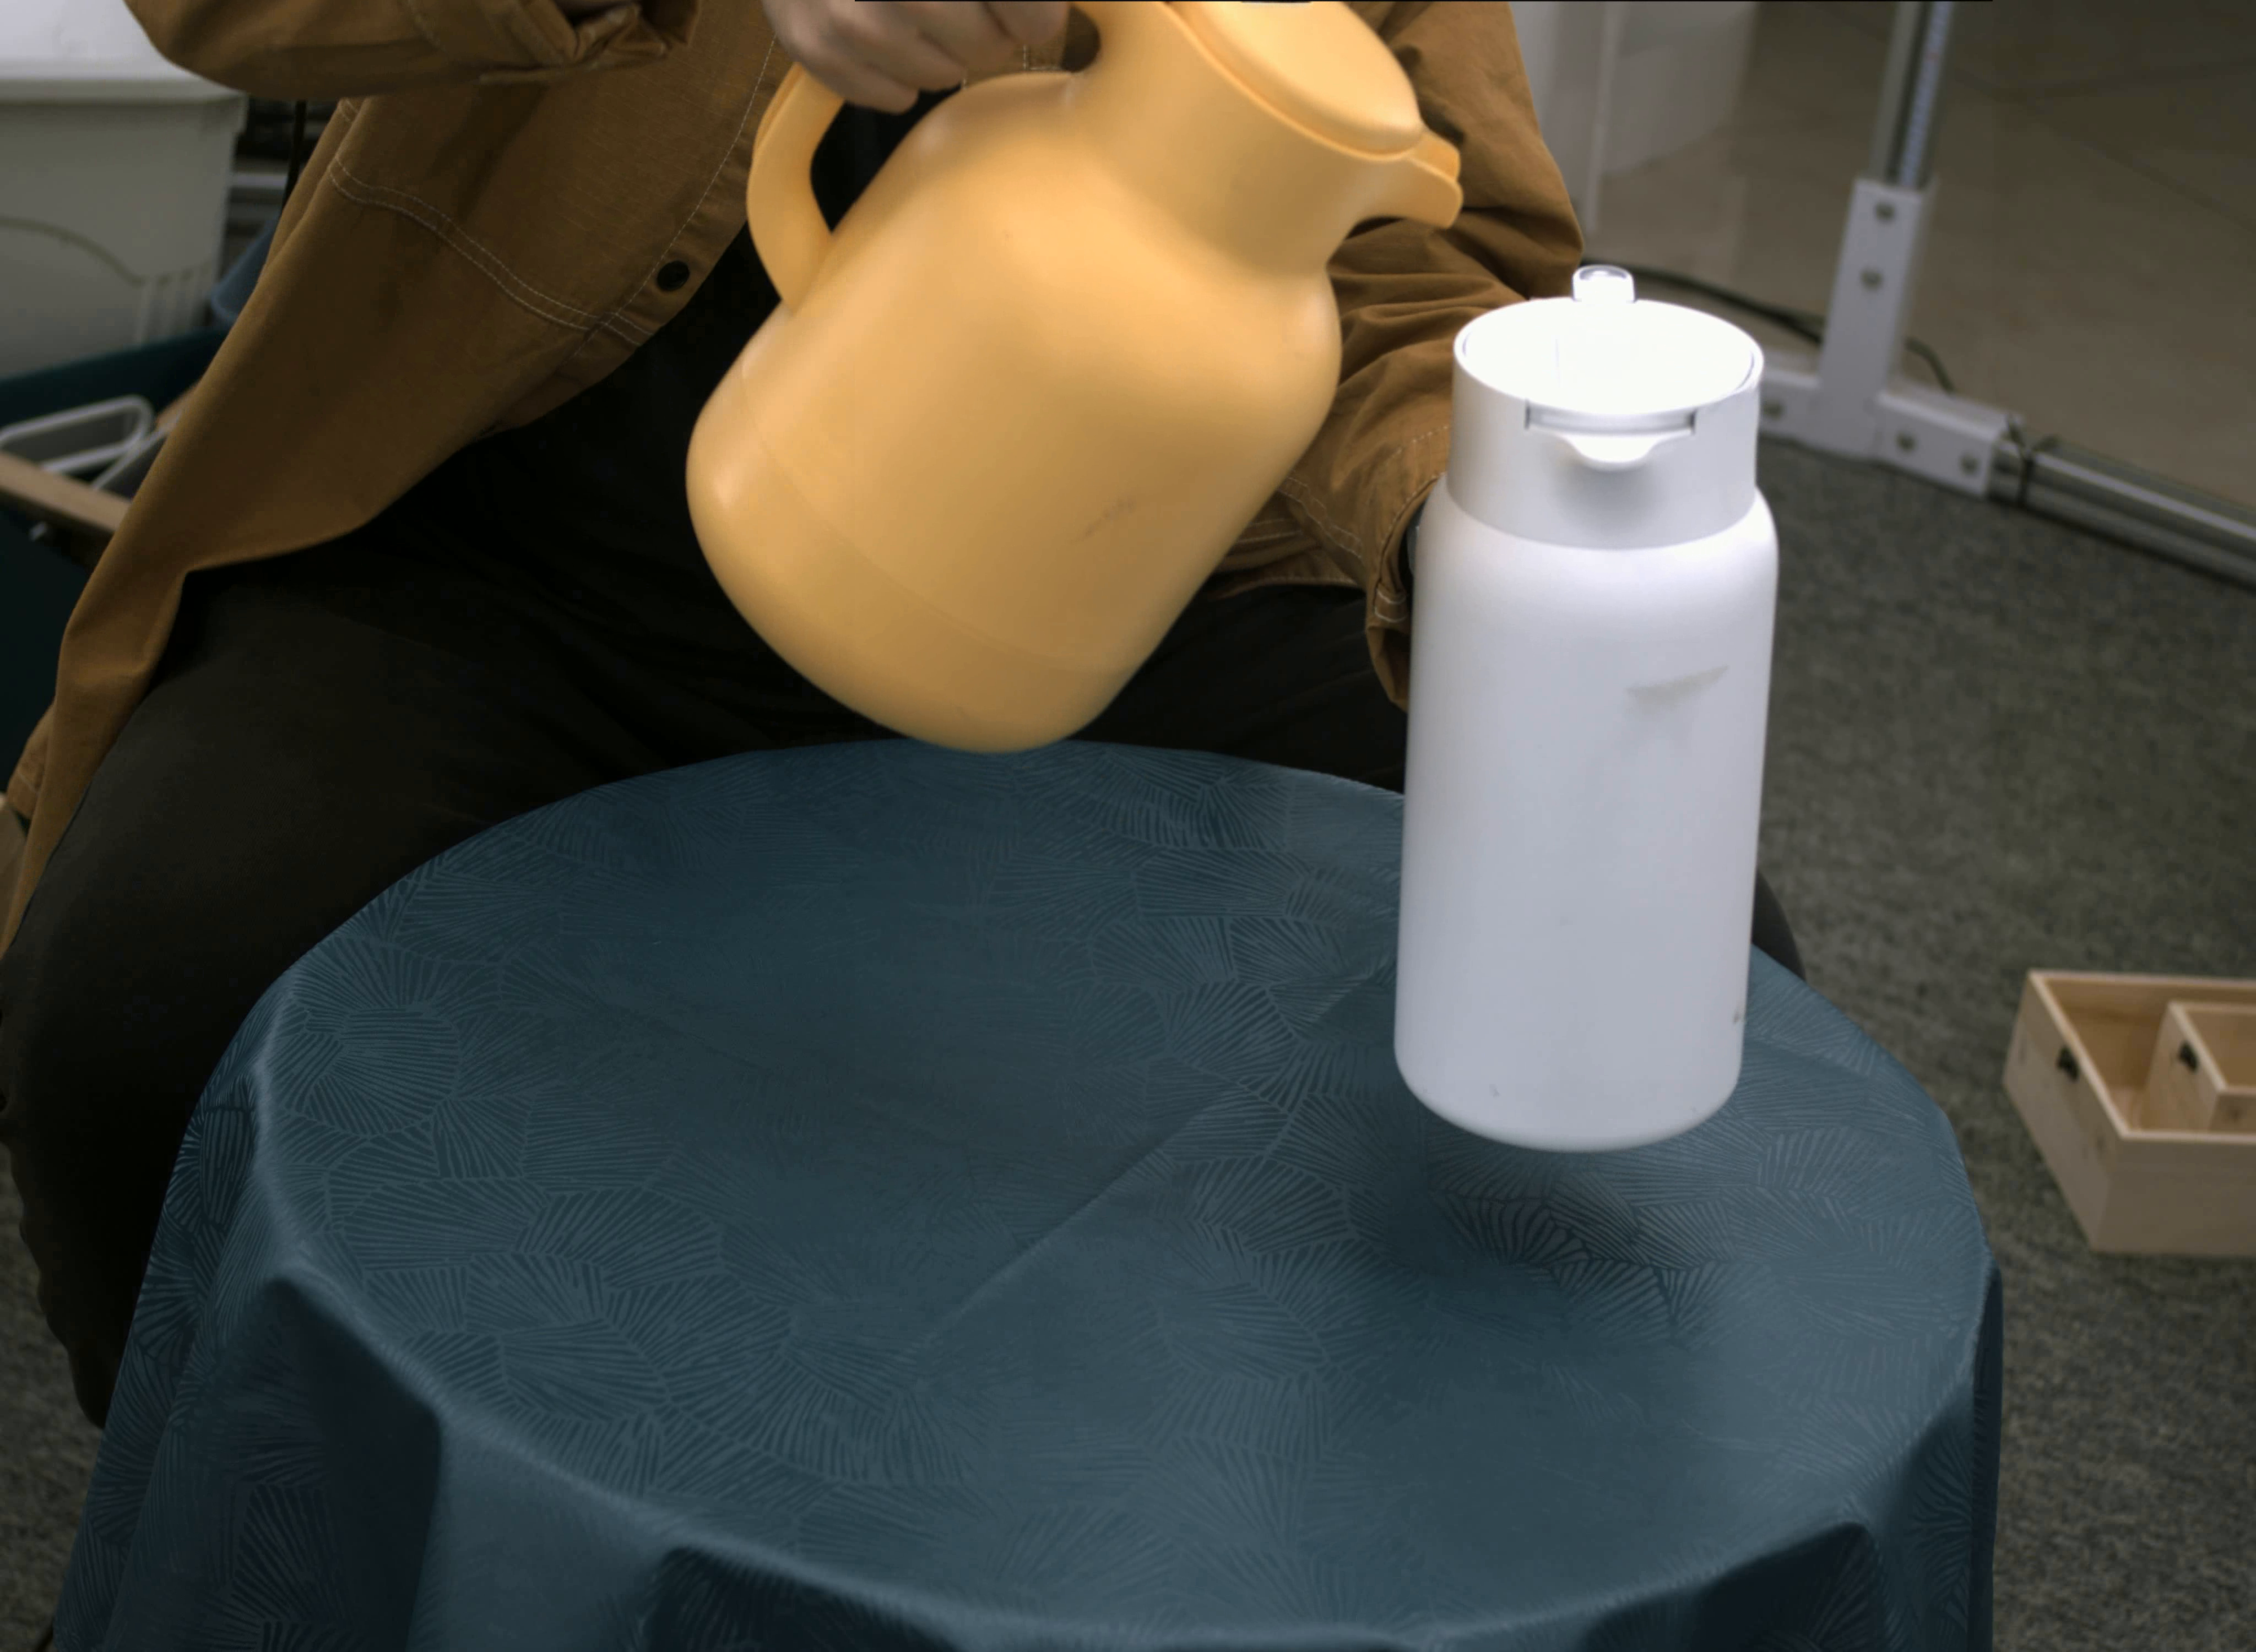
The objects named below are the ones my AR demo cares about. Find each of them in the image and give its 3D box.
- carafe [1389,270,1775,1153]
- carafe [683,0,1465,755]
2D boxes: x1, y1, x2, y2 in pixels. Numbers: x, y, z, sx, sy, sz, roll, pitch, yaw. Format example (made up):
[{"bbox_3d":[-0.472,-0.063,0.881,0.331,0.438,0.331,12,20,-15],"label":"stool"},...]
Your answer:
[{"bbox_3d":[0.148,-0.041,1.755,0.123,0.268,0.174,0,26,3],"label":"carafe"},{"bbox_3d":[-0.032,-0.168,1.674,0.201,0.260,0.164,32,24,-14],"label":"carafe"}]
